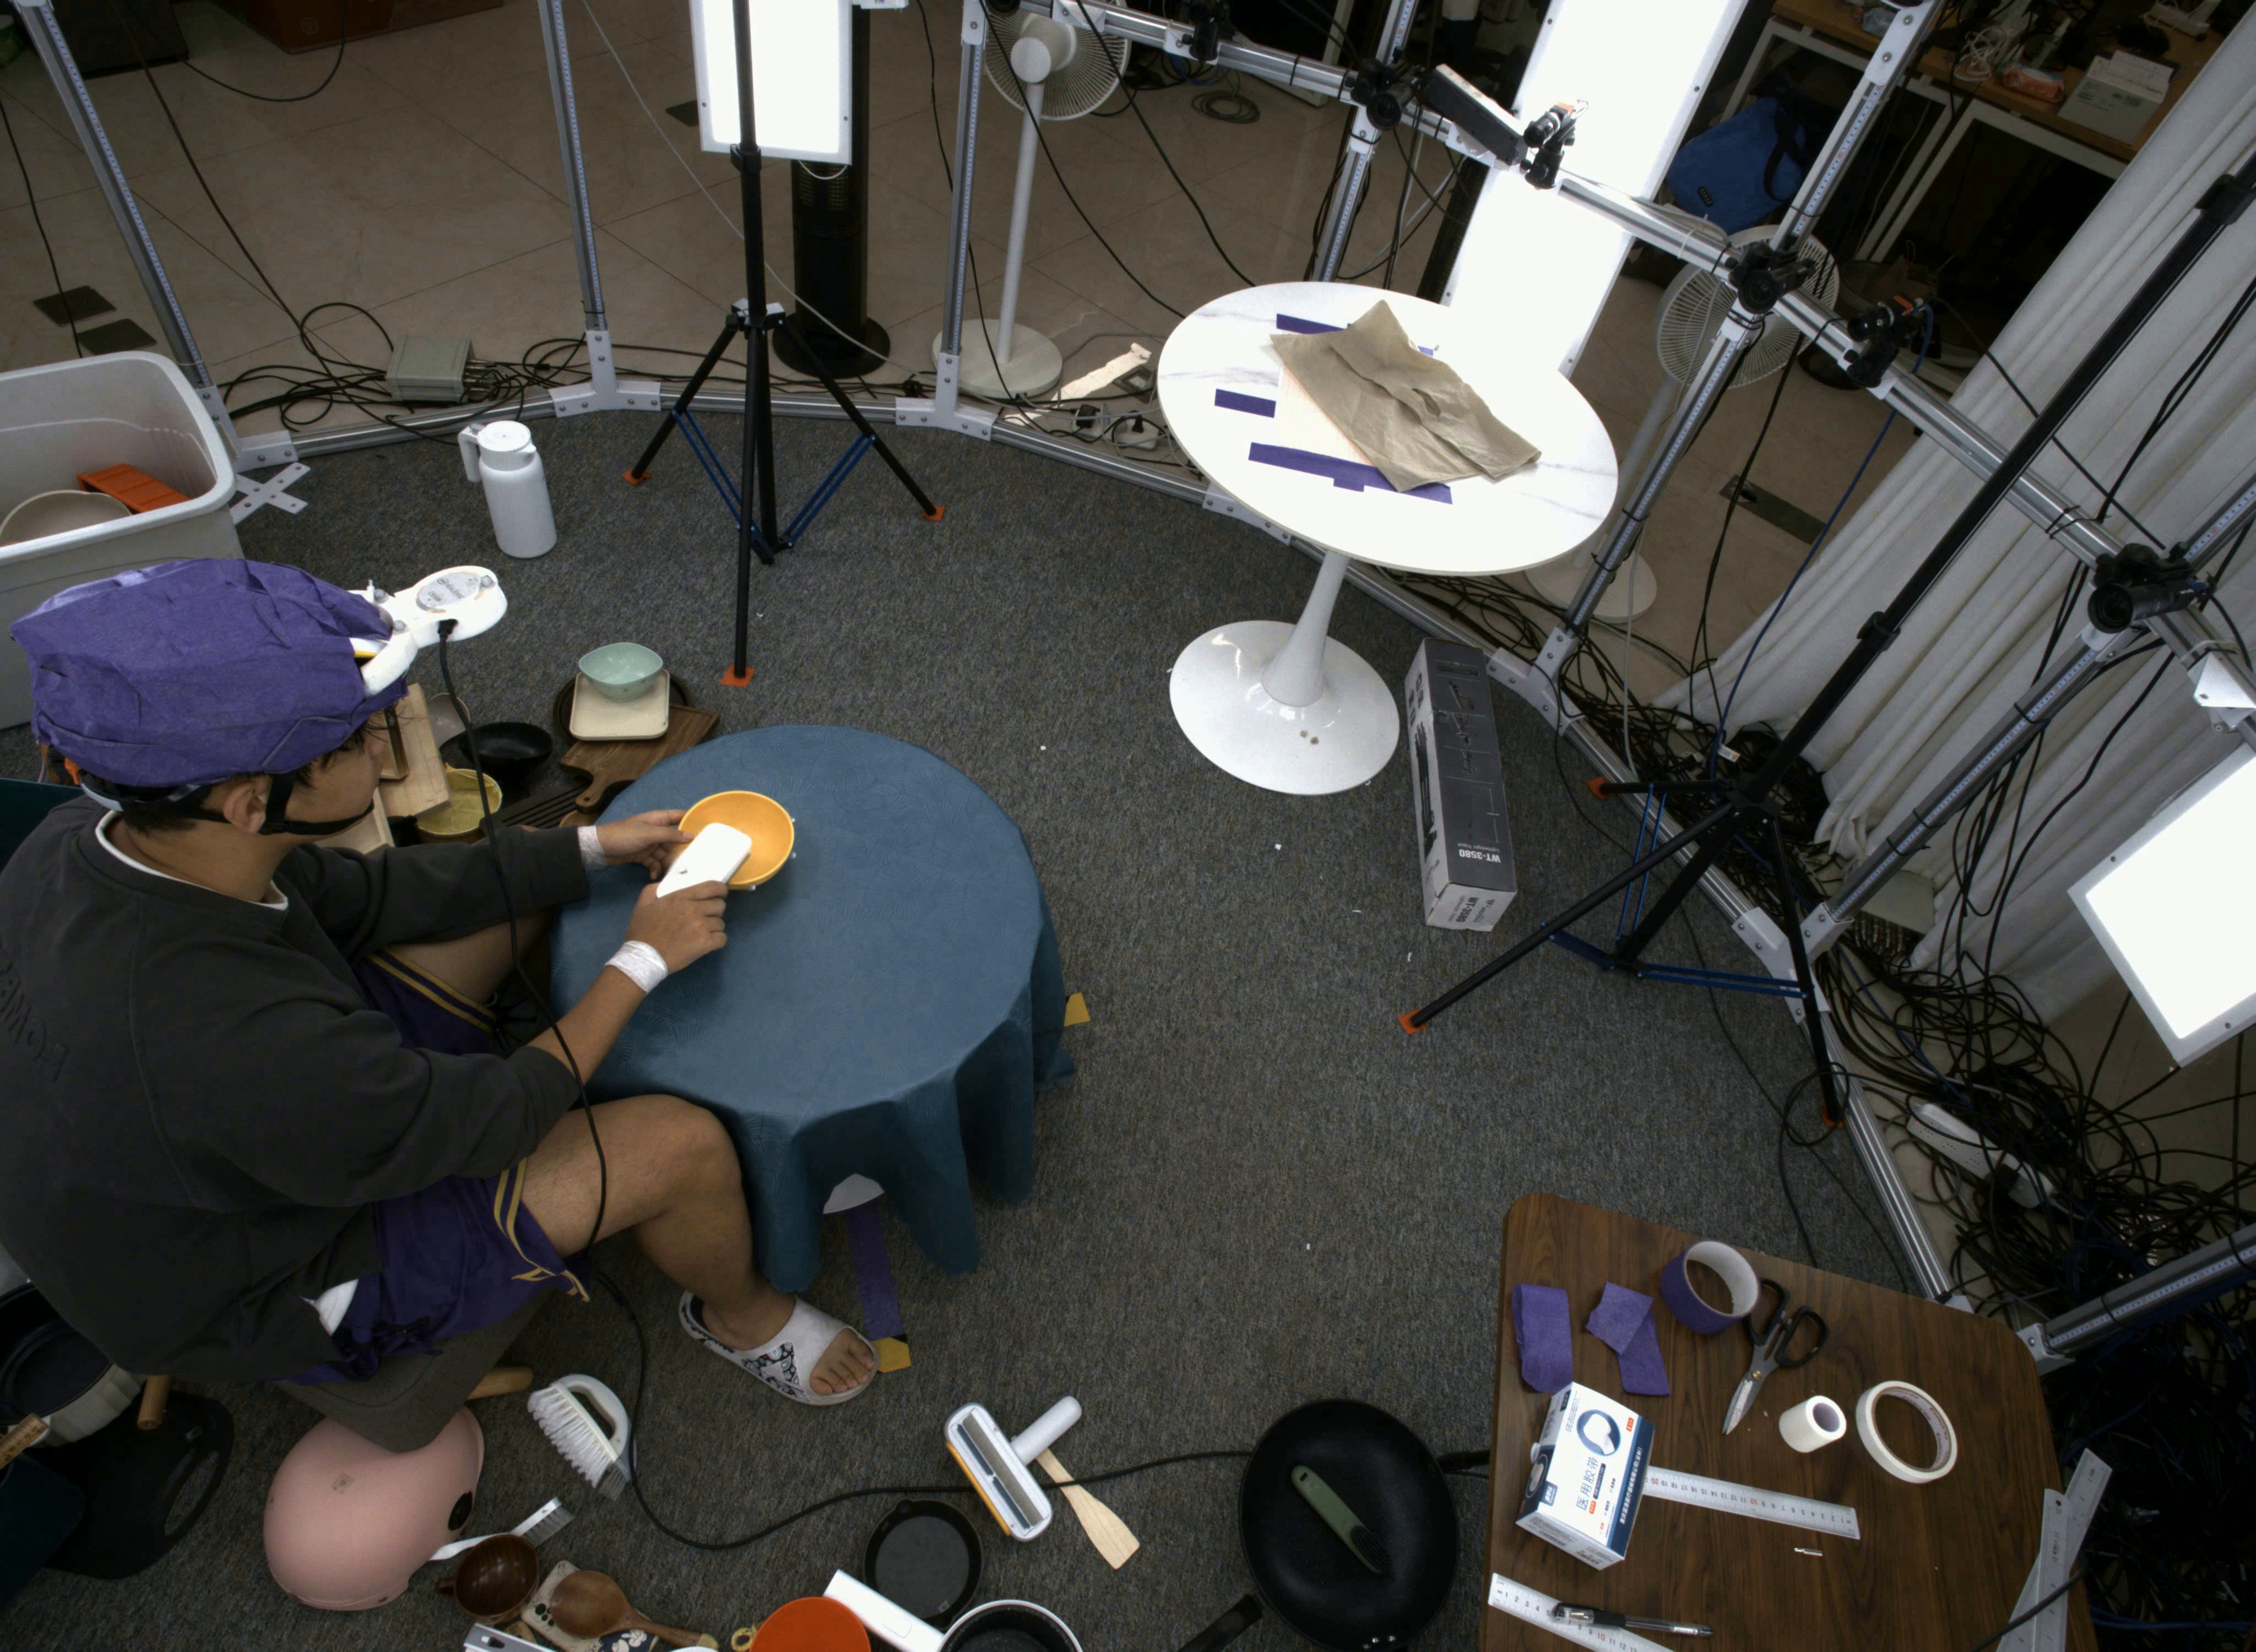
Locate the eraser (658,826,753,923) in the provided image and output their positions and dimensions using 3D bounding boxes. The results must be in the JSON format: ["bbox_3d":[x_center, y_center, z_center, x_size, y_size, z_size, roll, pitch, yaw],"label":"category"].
[{"bbox_3d":[-0.514,0.054,1.570,0.062,0.035,0.130,25,52,7],"label":"eraser"}]

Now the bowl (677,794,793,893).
[{"bbox_3d":[-0.498,0.032,1.650,0.144,0.061,0.143,6,54,-6],"label":"bowl"}]
